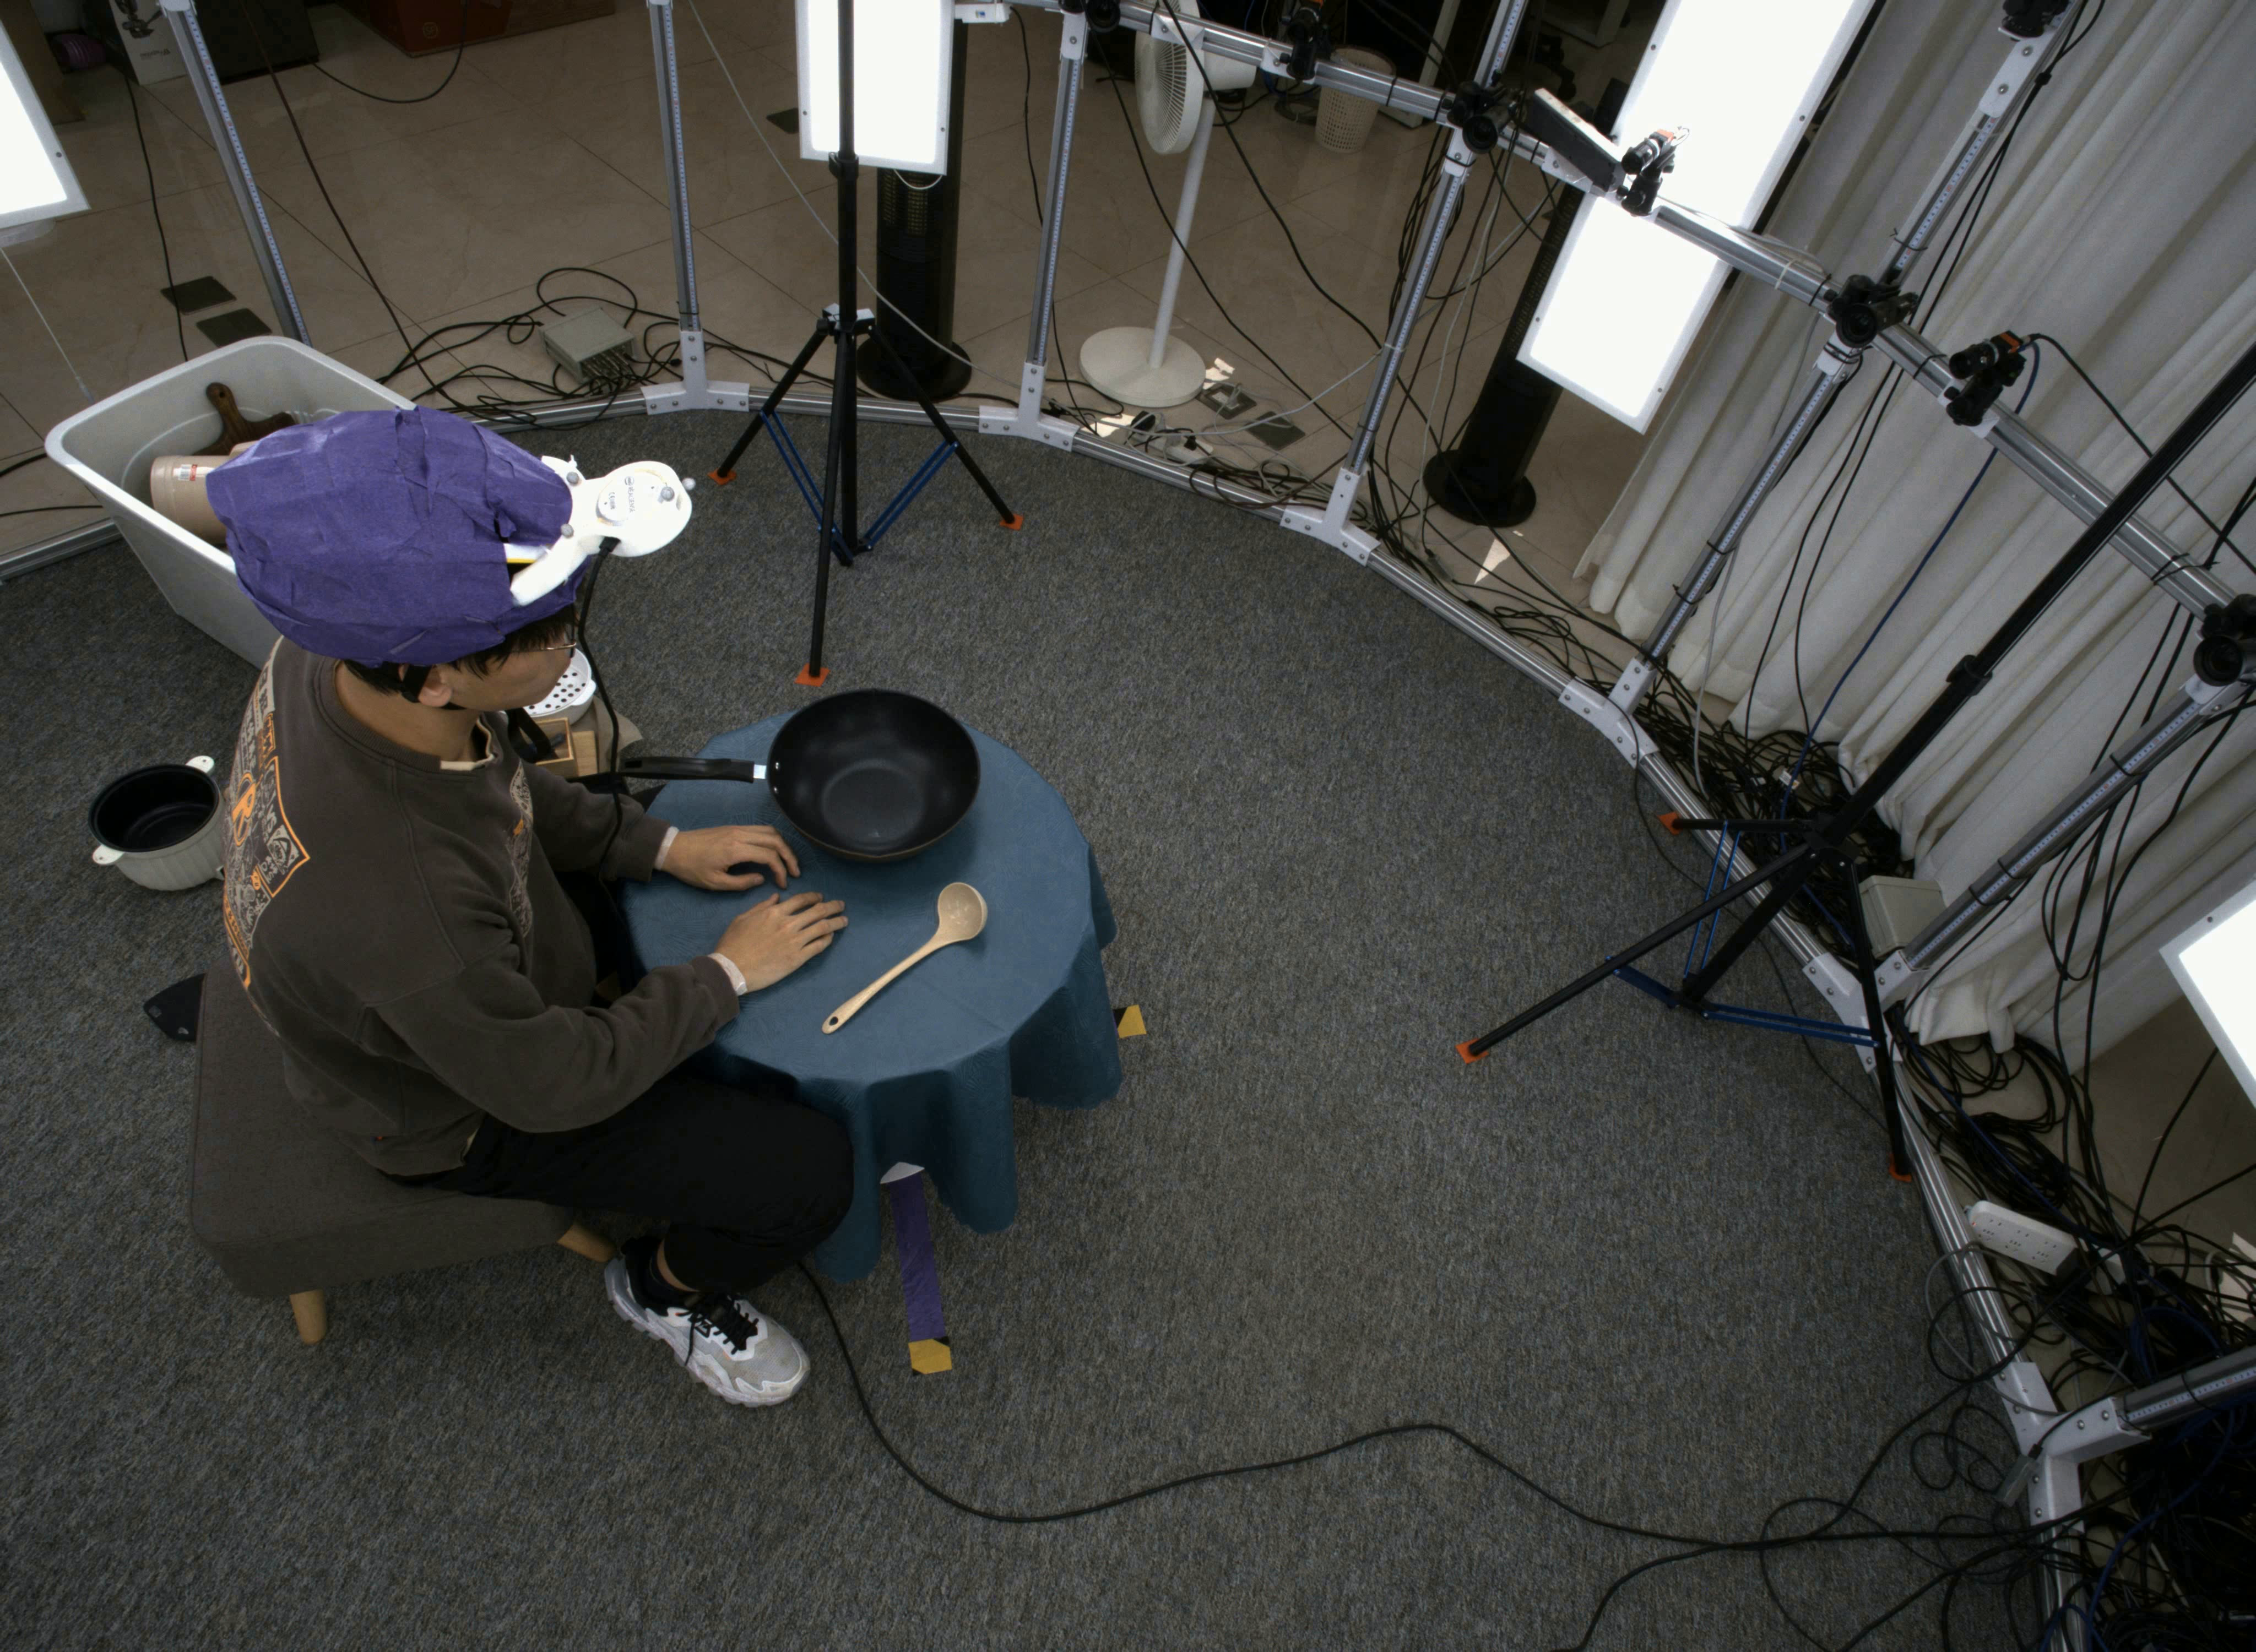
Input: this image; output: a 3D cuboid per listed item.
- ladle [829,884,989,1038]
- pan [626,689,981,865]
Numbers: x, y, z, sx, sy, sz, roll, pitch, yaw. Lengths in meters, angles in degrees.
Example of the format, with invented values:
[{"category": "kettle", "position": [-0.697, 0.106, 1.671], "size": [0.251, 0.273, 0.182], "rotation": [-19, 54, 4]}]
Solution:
[{"category": "ladle", "position": [-0.273, 0.161, 1.610], "size": [0.071, 0.074, 0.254], "rotation": [41, 54, 11]}, {"category": "pan", "position": [-0.427, -0.052, 1.723], "size": [0.463, 0.089, 0.282], "rotation": [0, 55, -12]}]
